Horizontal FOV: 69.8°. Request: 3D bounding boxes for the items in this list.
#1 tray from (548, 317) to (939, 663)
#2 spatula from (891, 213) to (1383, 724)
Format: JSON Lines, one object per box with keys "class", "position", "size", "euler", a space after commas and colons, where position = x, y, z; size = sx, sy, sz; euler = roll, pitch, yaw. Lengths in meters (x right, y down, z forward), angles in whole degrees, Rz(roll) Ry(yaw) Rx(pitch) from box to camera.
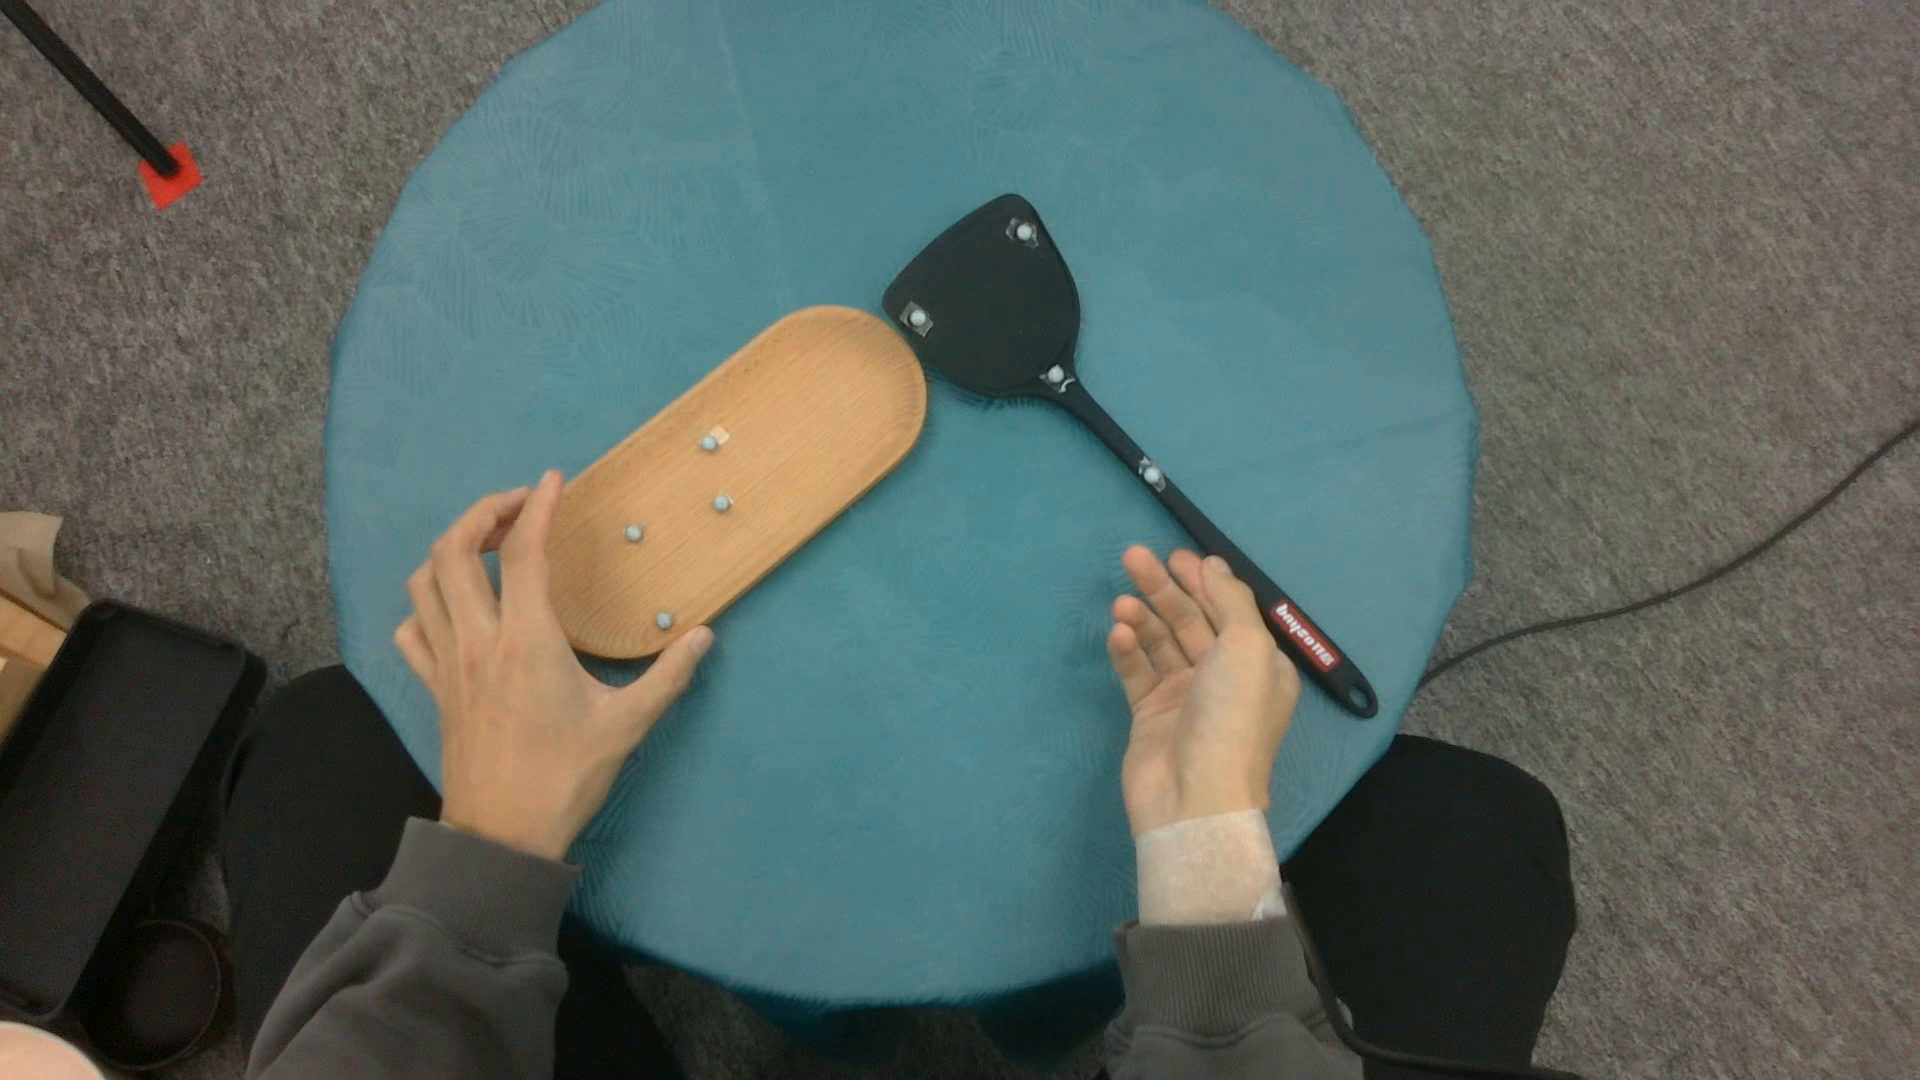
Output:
{"class": "tray", "position": [-0.111, -0.028, 0.720], "size": [0.231, 0.020, 0.102], "euler": [-40, 78, -12]}
{"class": "spatula", "position": [0.102, -0.030, 0.711], "size": [0.100, 0.040, 0.326], "euler": [-41, 78, -9]}
